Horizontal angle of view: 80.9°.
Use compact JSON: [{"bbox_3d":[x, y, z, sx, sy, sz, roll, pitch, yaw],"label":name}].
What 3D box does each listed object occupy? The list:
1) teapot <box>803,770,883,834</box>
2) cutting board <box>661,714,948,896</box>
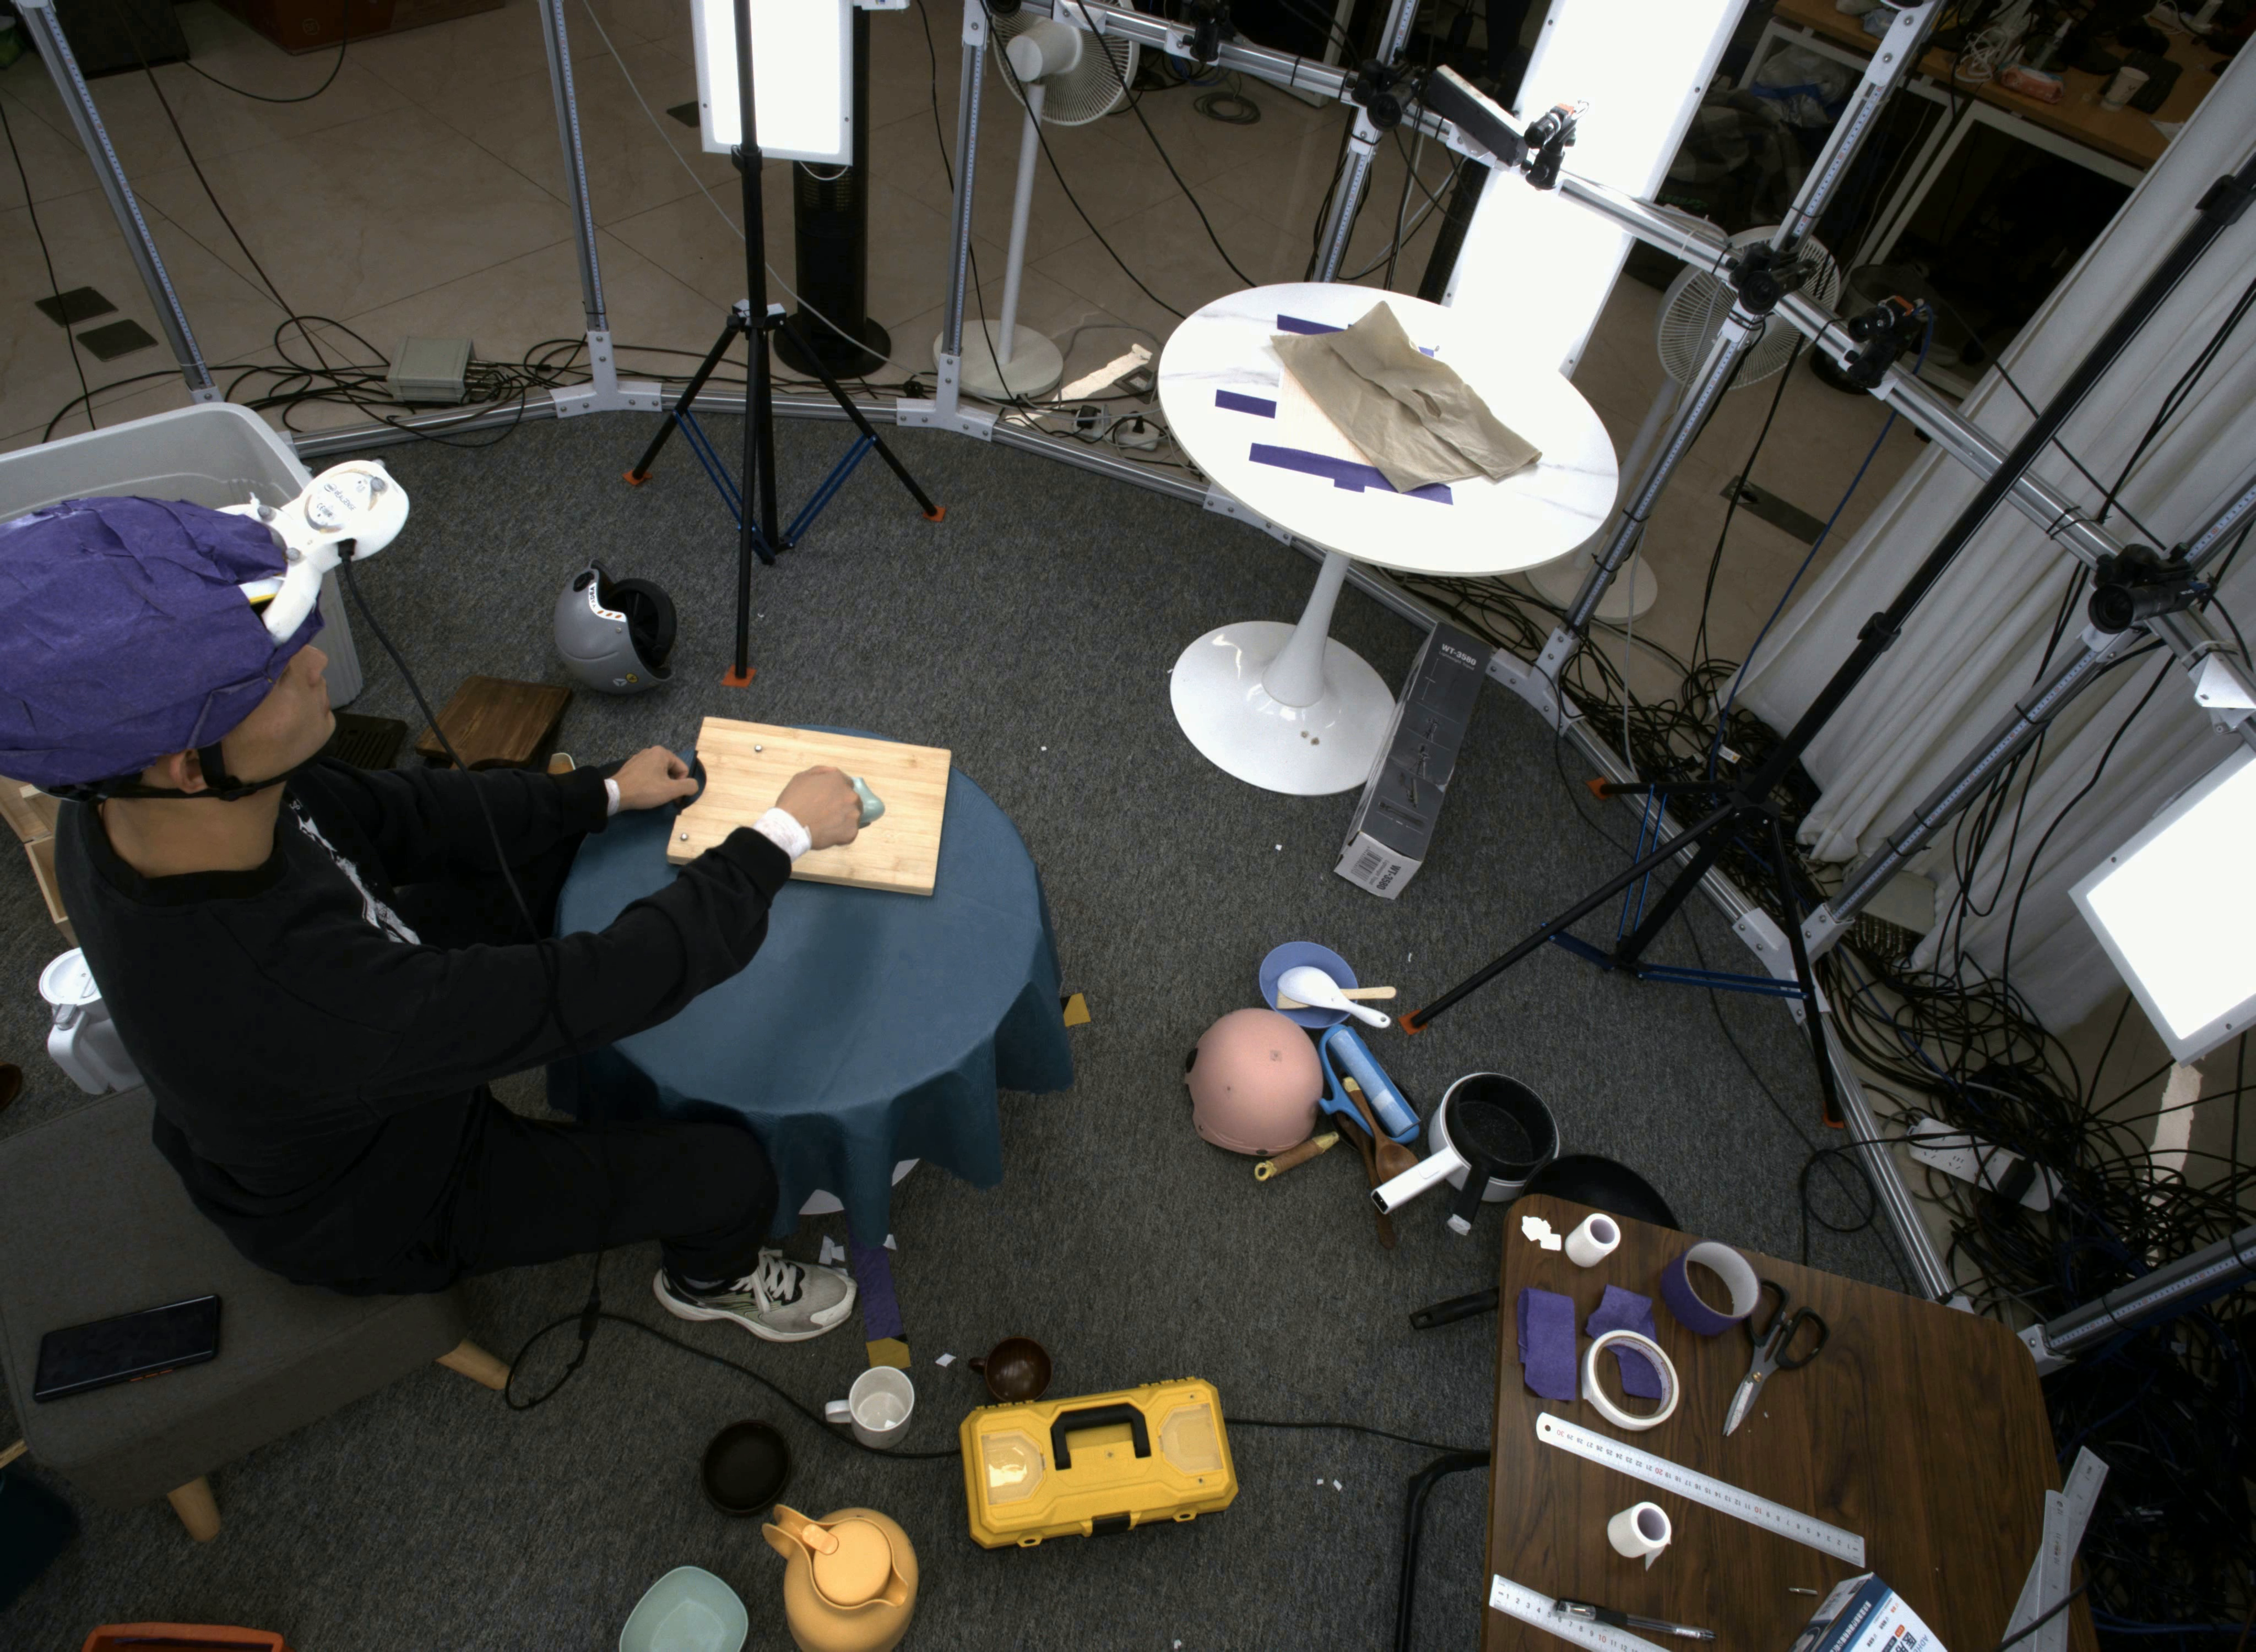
[{"bbox_3d":[-0.345,-0.028,1.560,0.096,0.136,0.062,-13,85,-13],"label":"teapot"},{"bbox_3d":[-0.423,-0.031,1.729,0.349,0.024,0.246,7,52,-12],"label":"cutting board"}]
